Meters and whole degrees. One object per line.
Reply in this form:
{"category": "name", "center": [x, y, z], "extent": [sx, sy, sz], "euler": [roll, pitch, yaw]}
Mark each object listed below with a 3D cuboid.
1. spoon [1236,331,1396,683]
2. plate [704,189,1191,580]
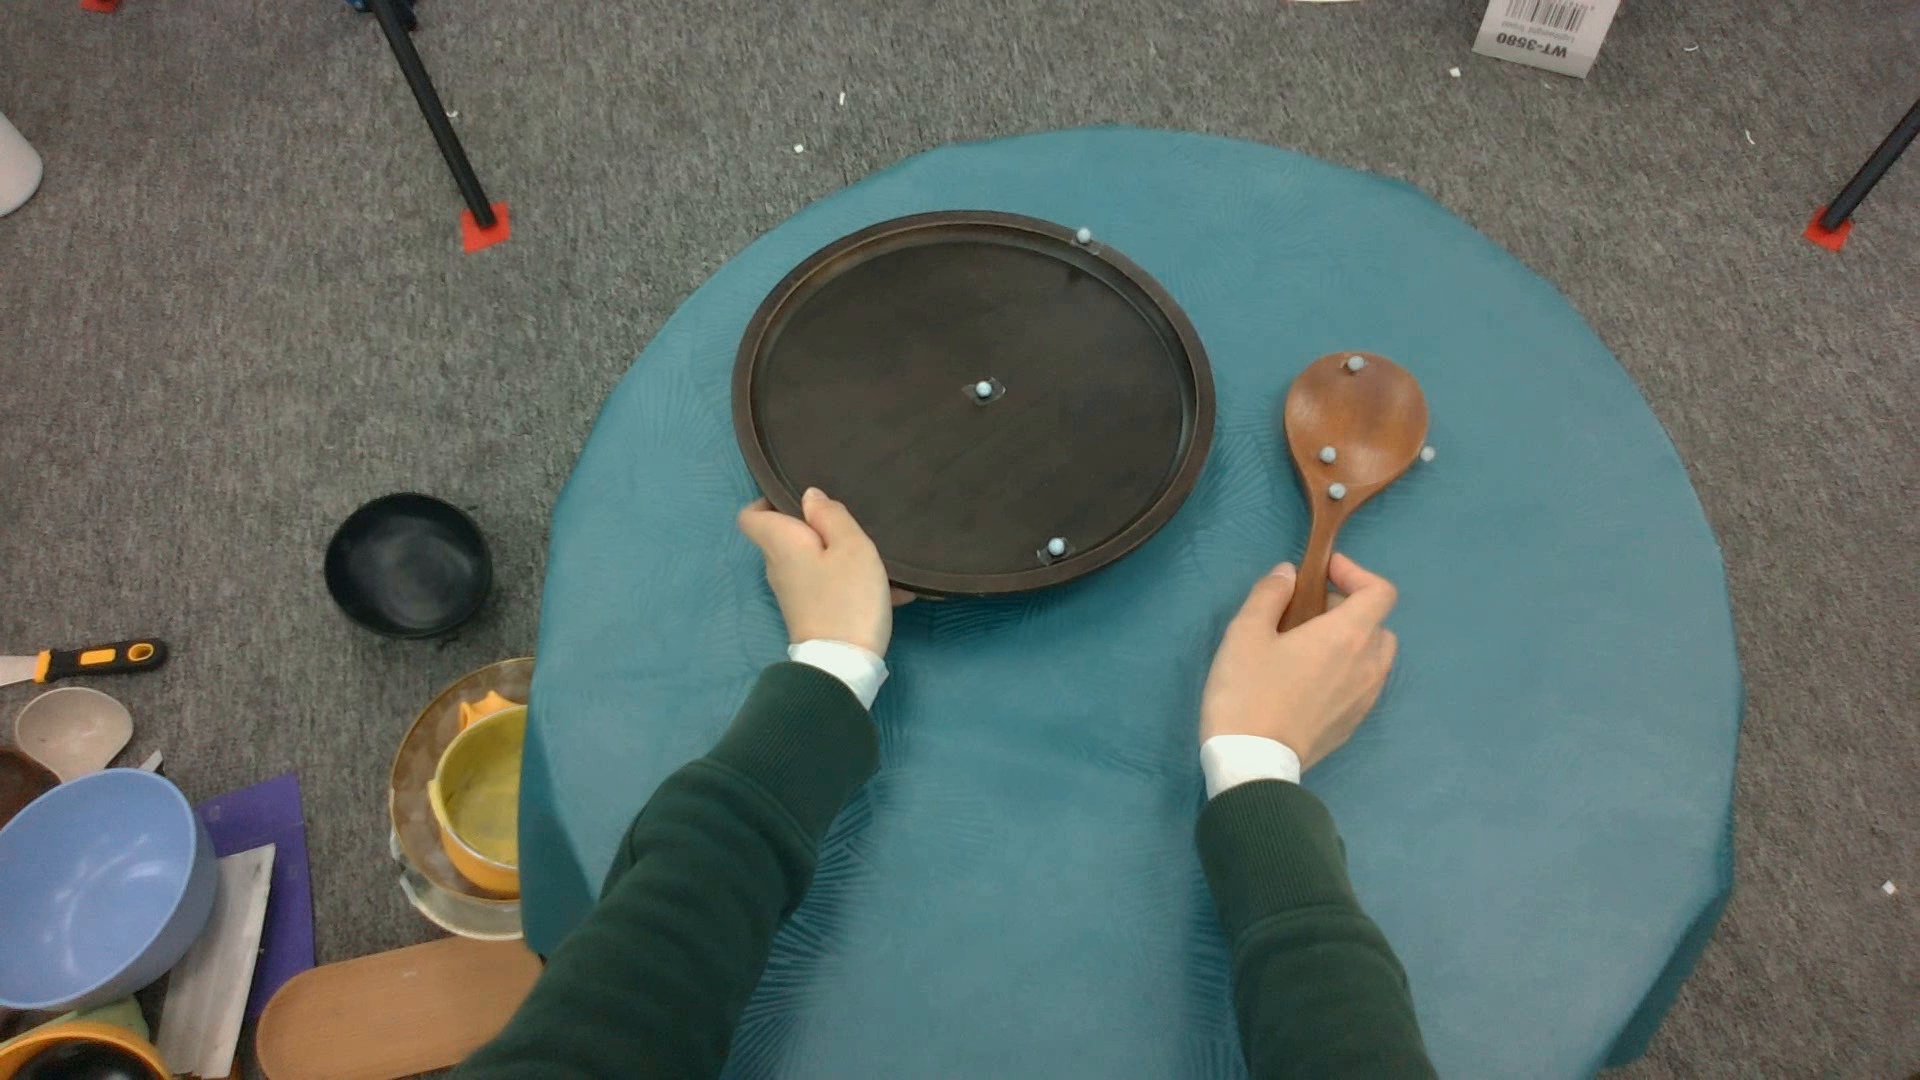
{"category": "spoon", "center": [0.173, -0.022, 0.697], "extent": [0.075, 0.017, 0.217], "euler": [16, 59, 8]}
{"category": "plate", "center": [-0.006, -0.087, 0.722], "extent": [0.255, 0.029, 0.256], "euler": [1, 57, -2]}
